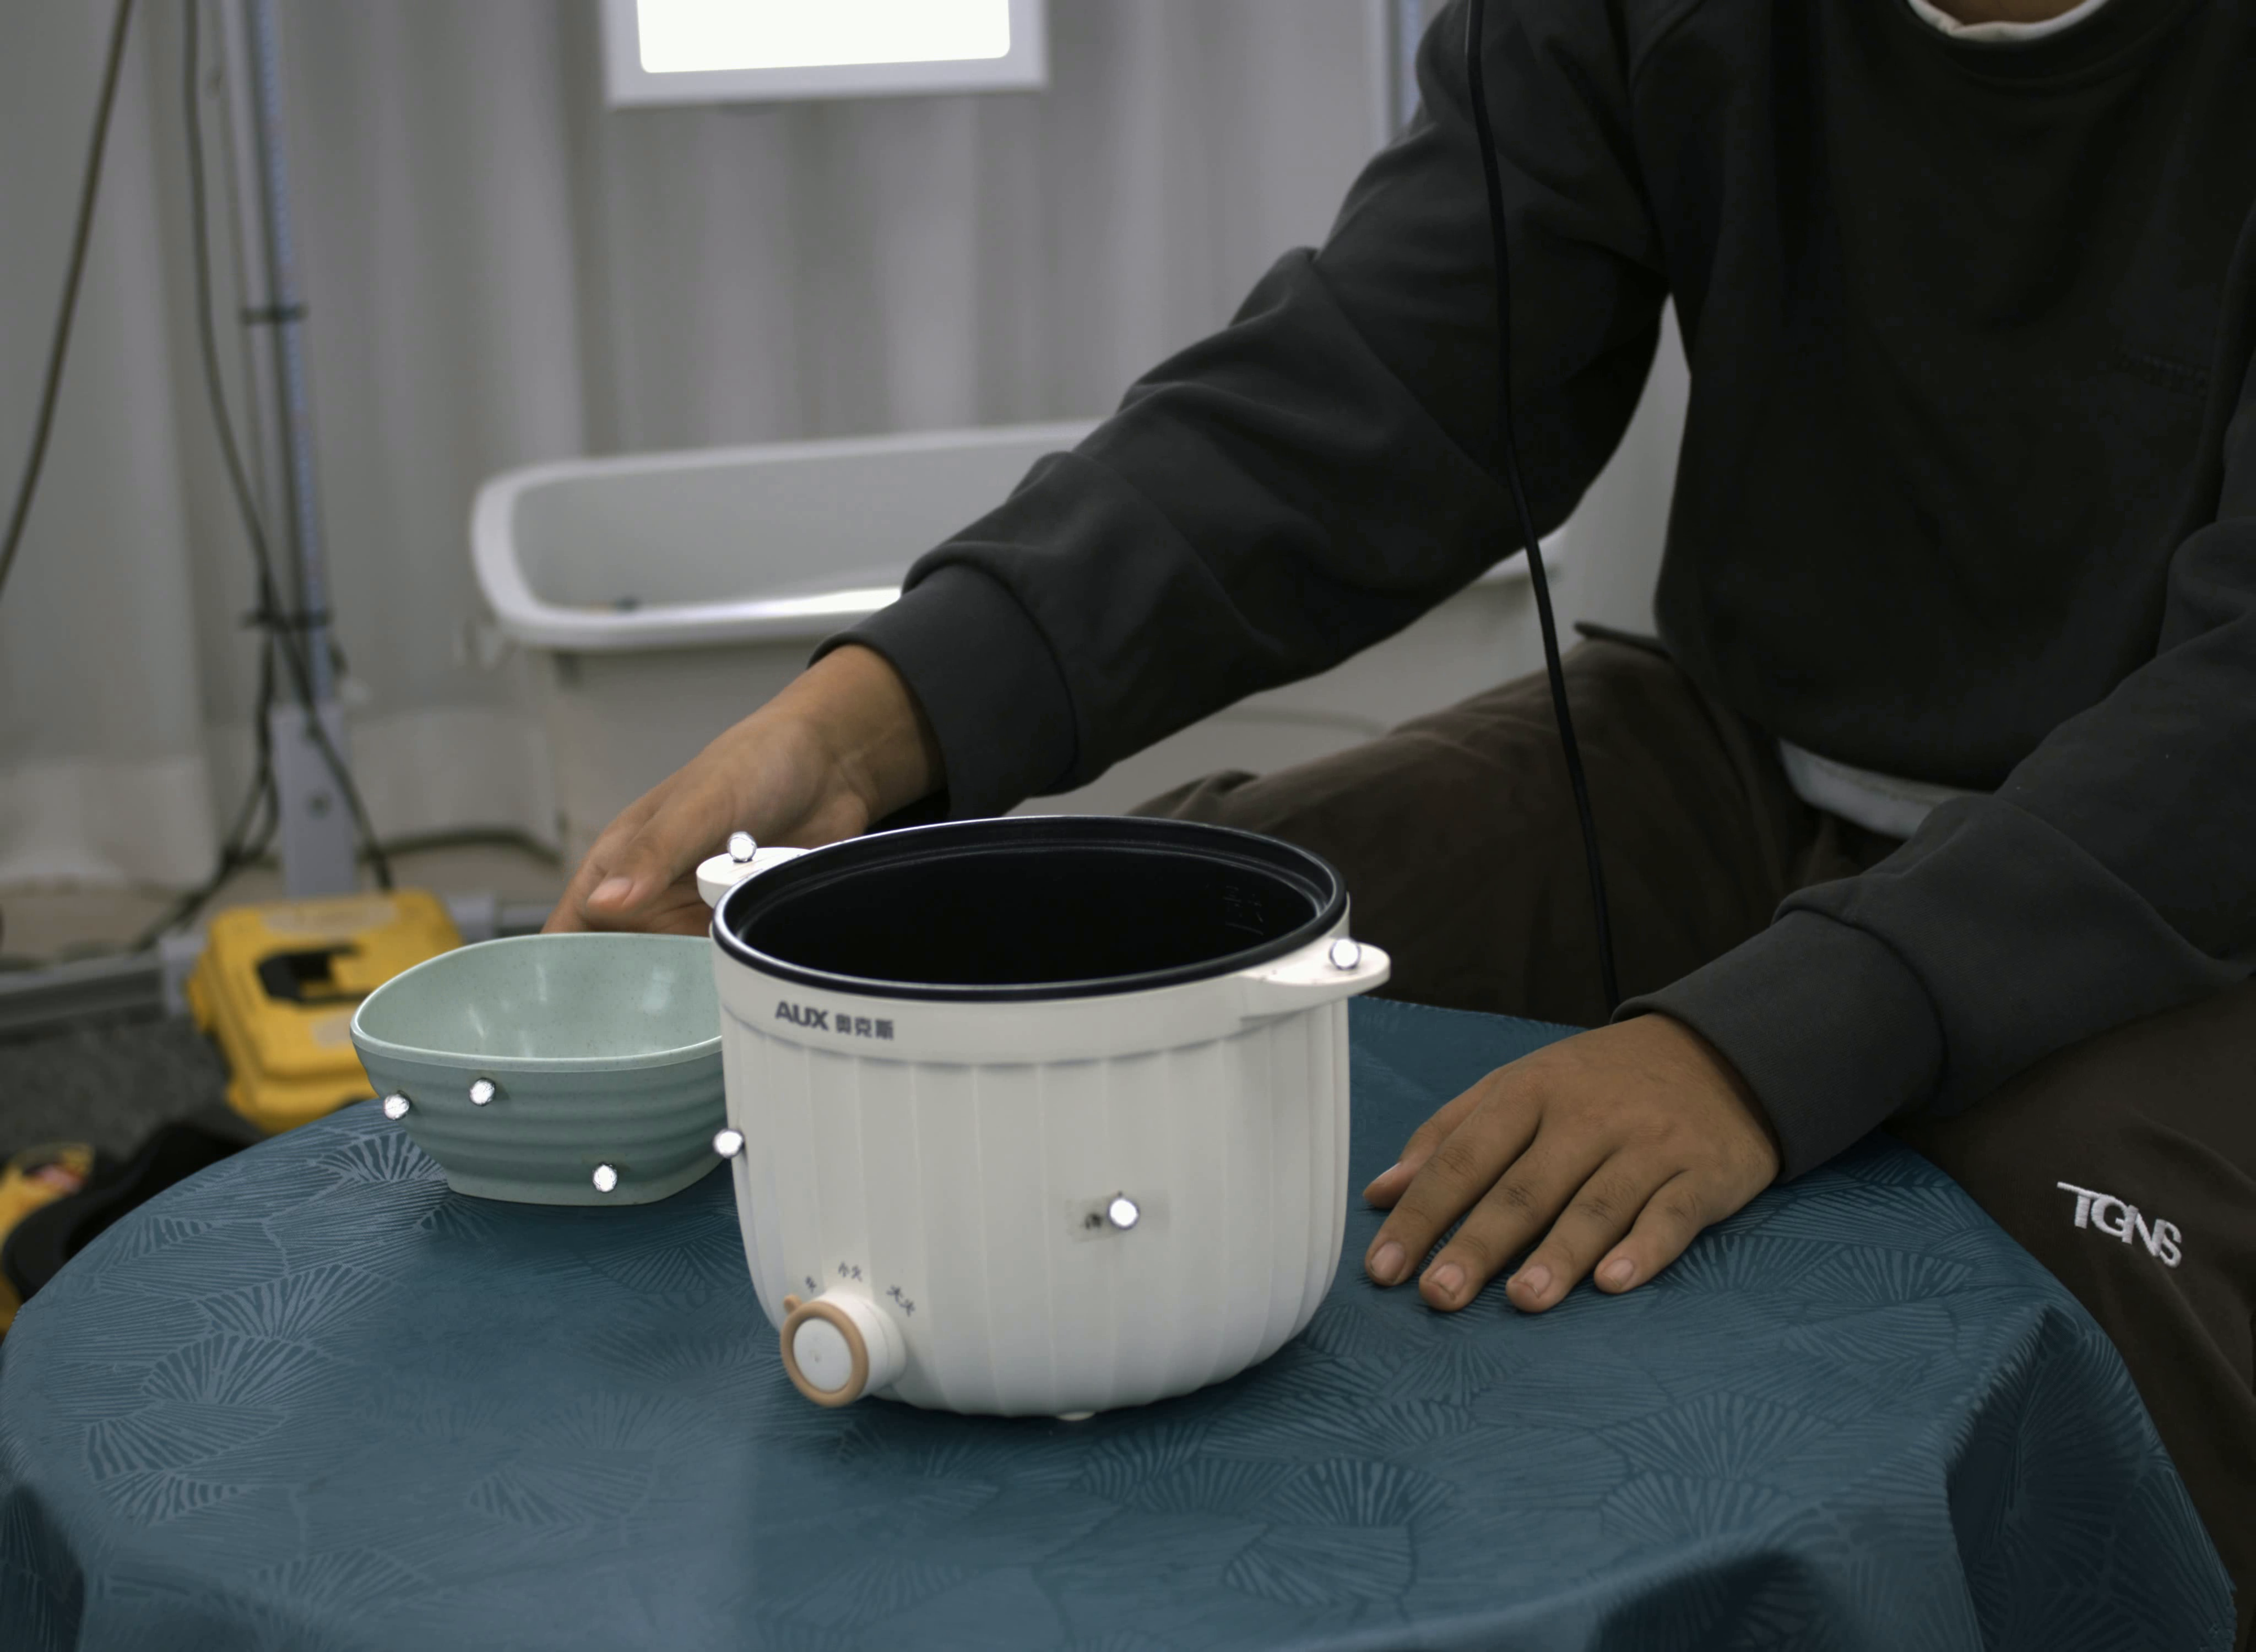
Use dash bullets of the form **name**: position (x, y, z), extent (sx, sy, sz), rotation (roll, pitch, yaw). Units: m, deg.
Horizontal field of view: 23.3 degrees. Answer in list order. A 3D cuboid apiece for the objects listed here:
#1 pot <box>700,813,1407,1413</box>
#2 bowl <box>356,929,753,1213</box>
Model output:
- **pot**: position (-0.025, 0.084, 1.564), extent (0.241, 0.142, 0.190), rotation (6, 13, 36)
- **bowl**: position (-0.172, 0.082, 1.761), extent (0.151, 0.058, 0.152), rotation (-3, 16, 1)
